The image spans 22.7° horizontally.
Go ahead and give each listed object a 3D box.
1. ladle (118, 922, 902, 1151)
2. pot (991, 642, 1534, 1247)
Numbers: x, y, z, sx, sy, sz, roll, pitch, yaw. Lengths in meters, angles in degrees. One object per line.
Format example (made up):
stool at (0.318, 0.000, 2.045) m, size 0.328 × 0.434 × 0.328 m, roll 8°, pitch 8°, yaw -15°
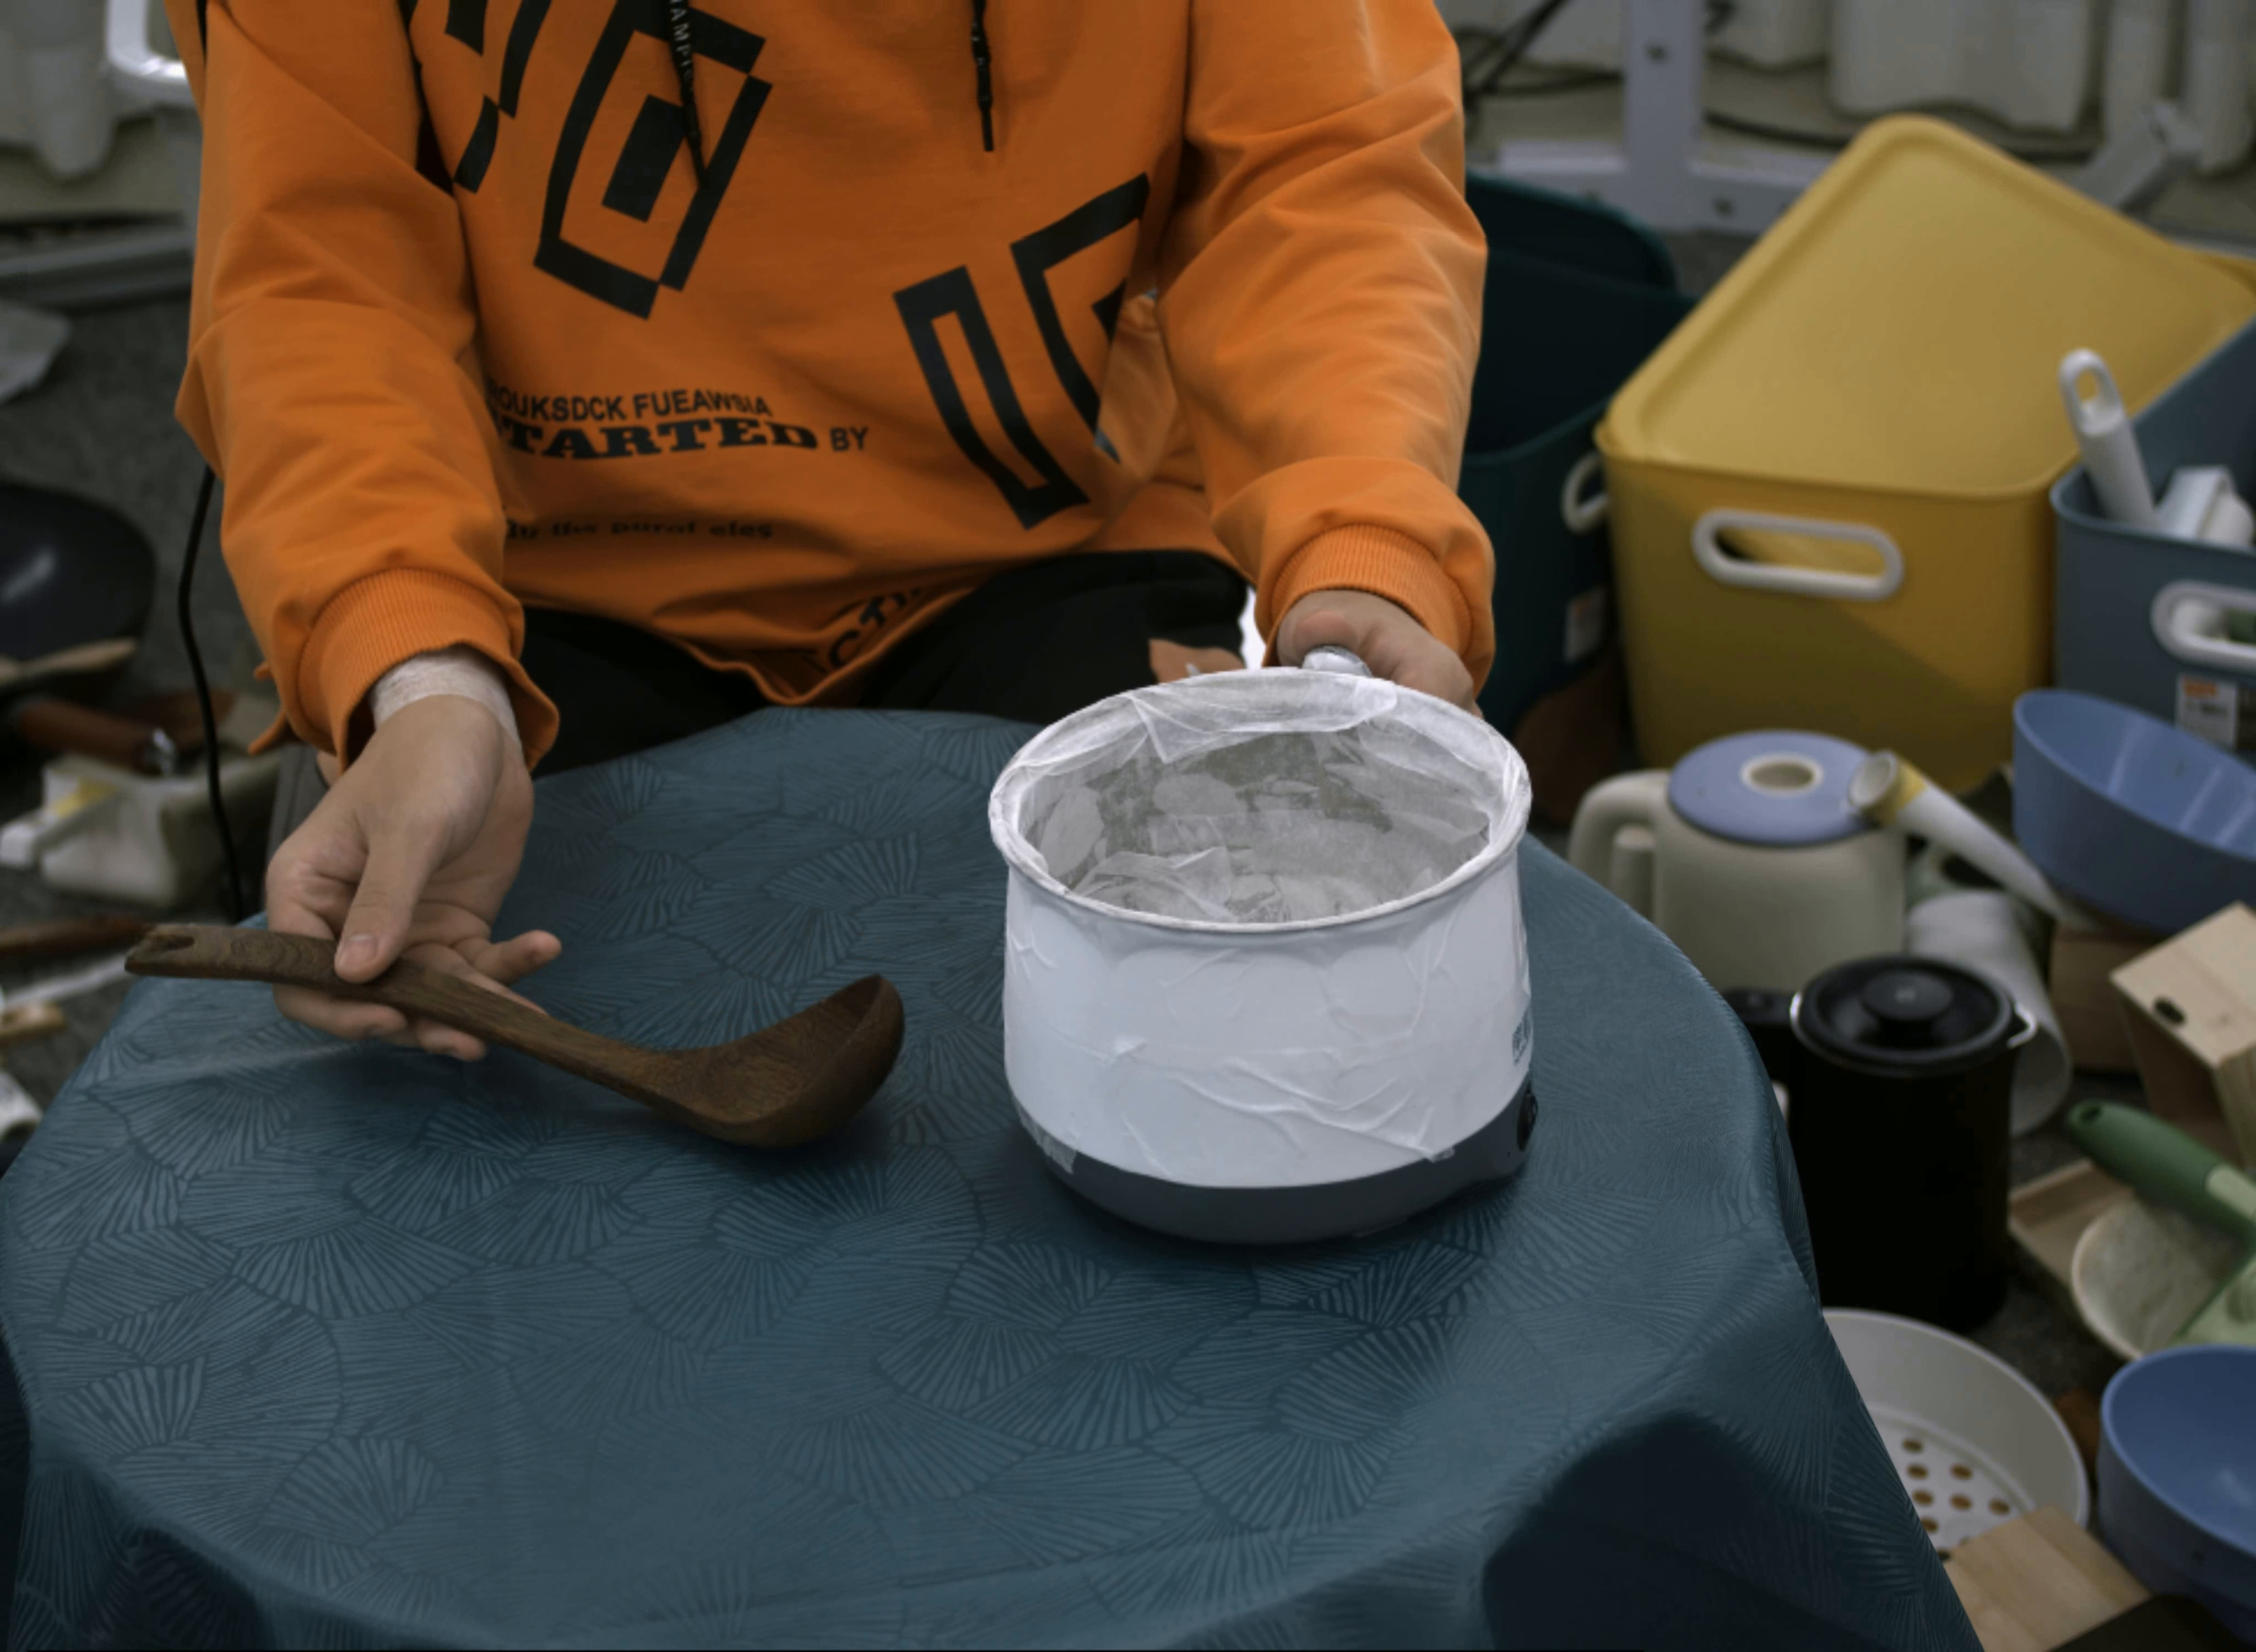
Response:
ladle at (-0.210, 0.052, 1.905) m, size 0.273 × 0.070 × 0.077 m, roll 16°, pitch 29°, yaw 8°
pot at (0.052, 0.032, 1.881) m, size 0.177 × 0.135 × 0.238 m, roll 5°, pitch 29°, yaw 12°
